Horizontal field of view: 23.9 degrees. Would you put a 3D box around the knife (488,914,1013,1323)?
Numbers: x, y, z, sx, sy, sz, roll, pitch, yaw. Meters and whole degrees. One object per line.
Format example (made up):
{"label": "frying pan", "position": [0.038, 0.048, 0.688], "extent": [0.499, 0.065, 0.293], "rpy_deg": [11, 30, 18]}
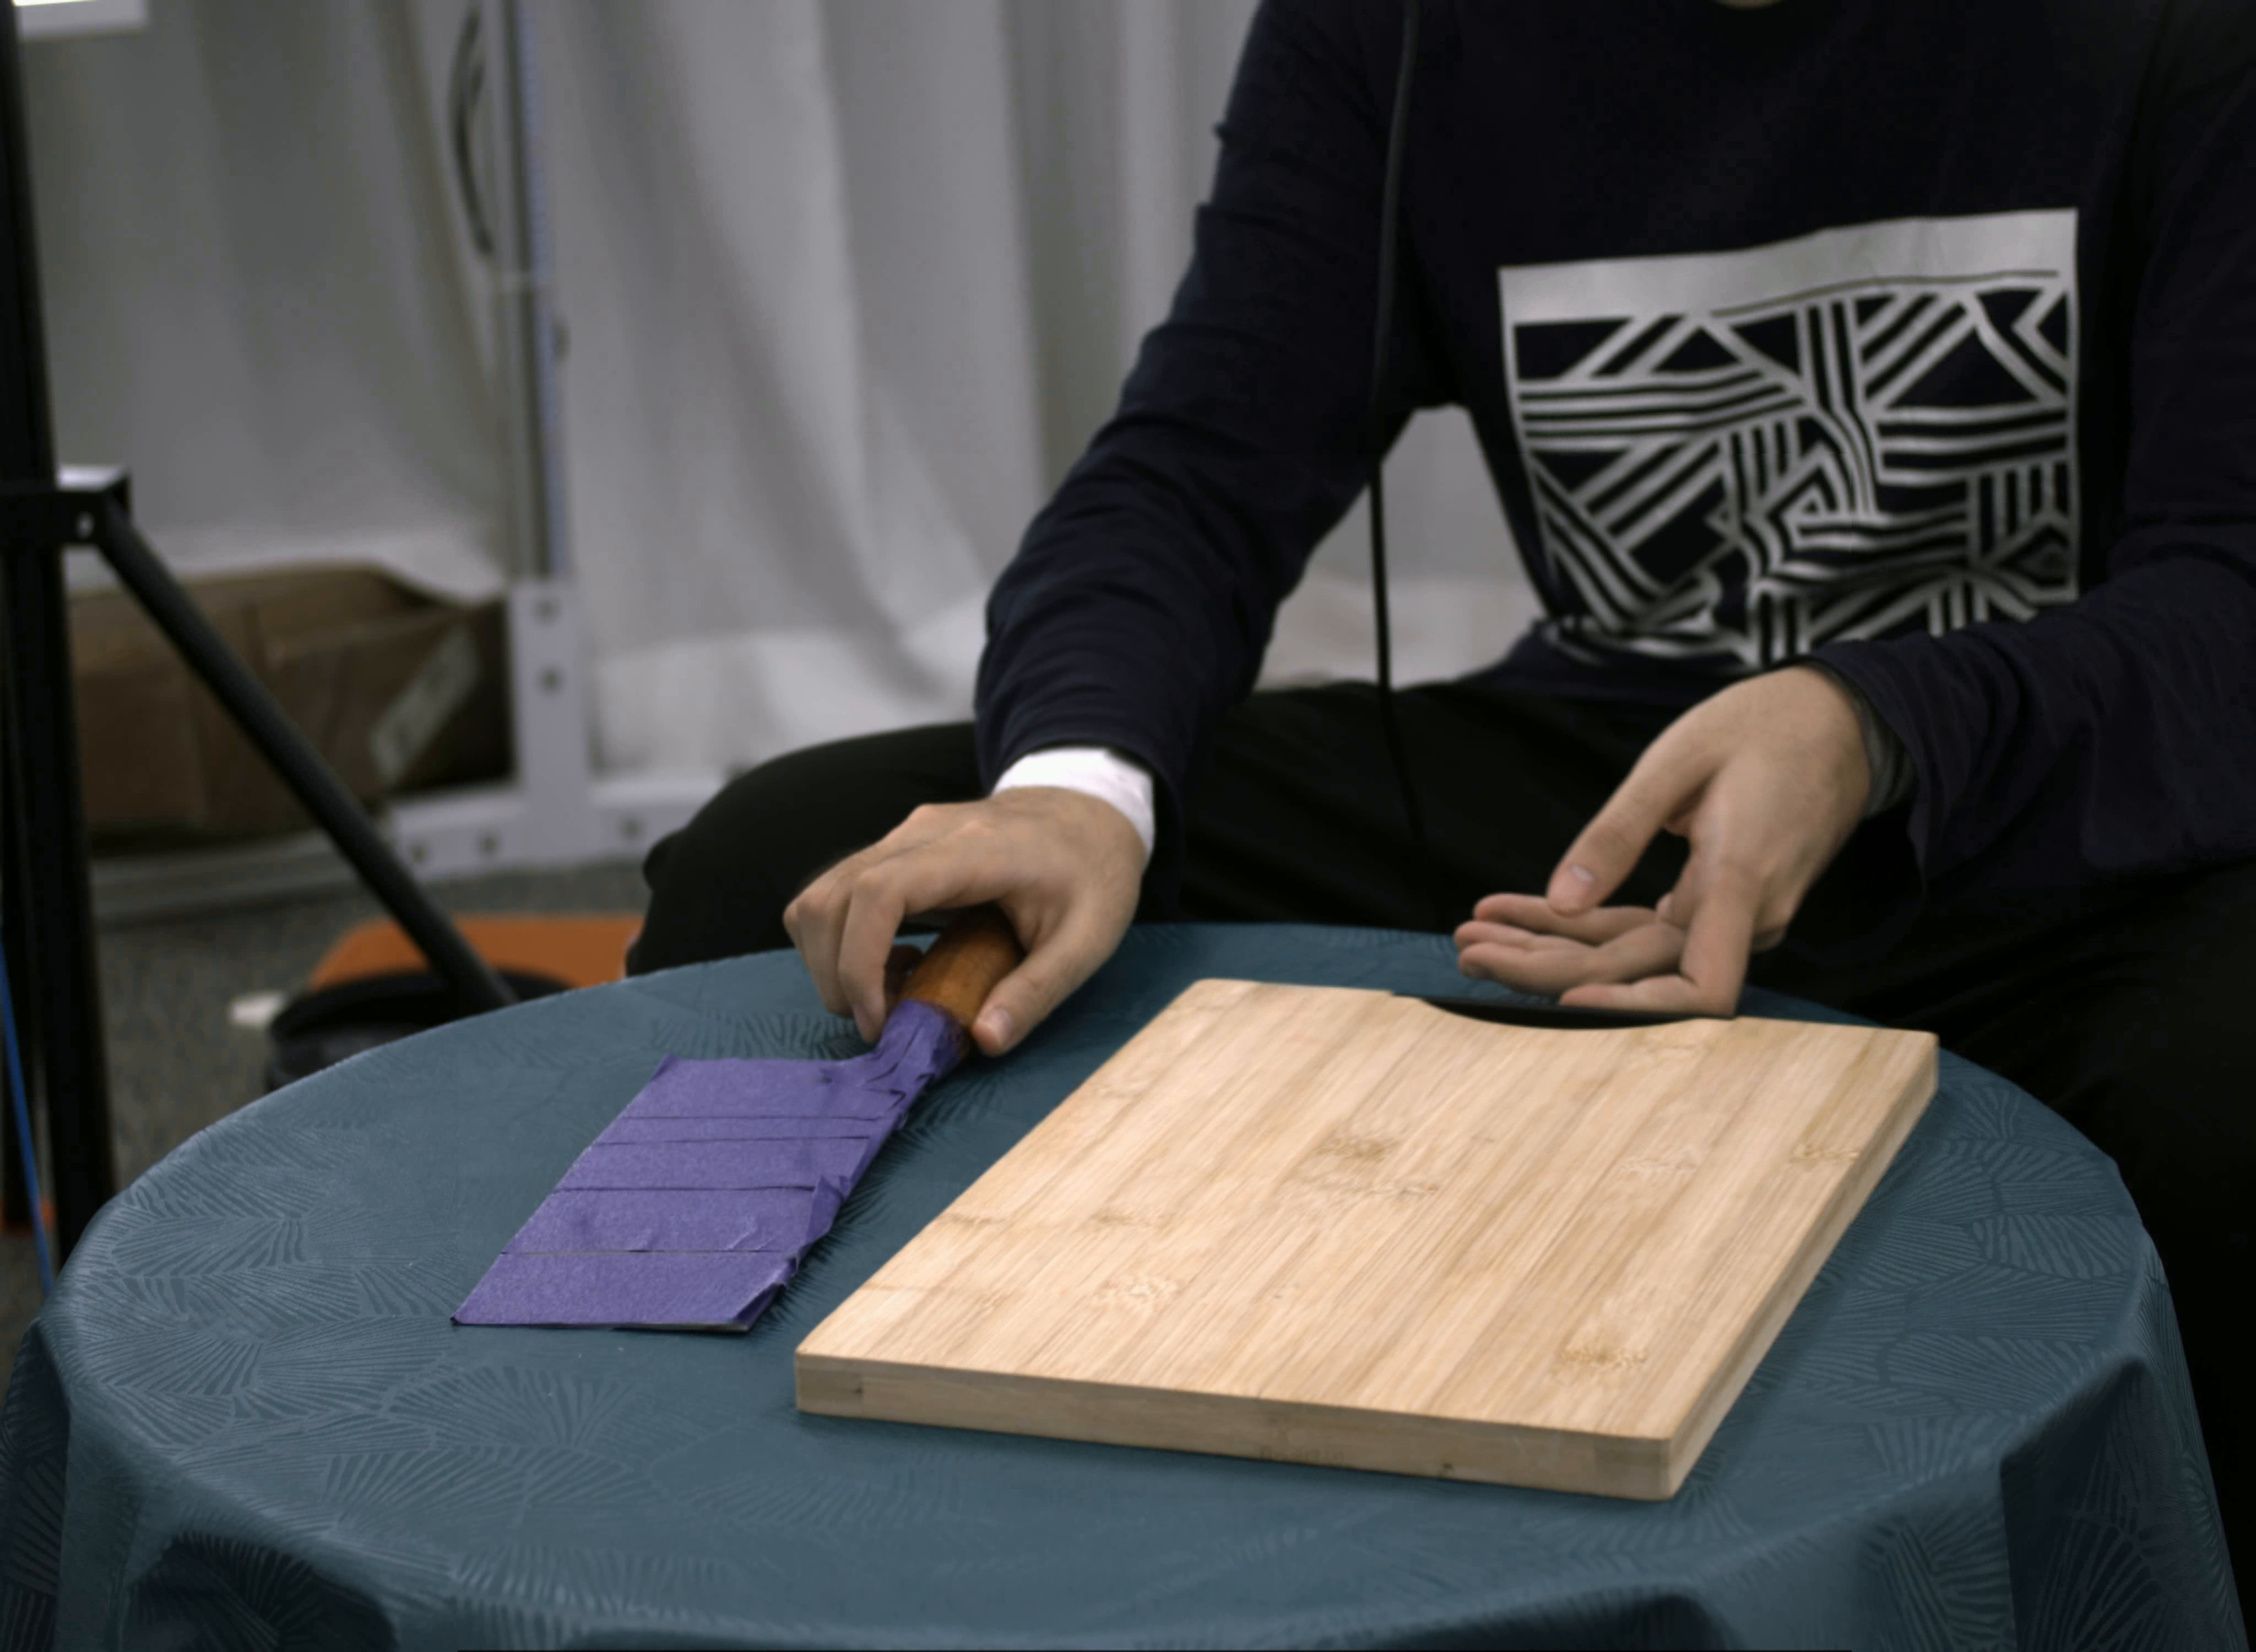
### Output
{"label": "knife", "position": [-0.111, 0.085, 1.610], "extent": [0.104, 0.032, 0.313], "rpy_deg": [1, 16, 13]}

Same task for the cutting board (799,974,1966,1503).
{"label": "cutting board", "position": [0.084, 0.109, 1.516], "extent": [0.254, 0.023, 0.344], "rpy_deg": [4, 17, 20]}
